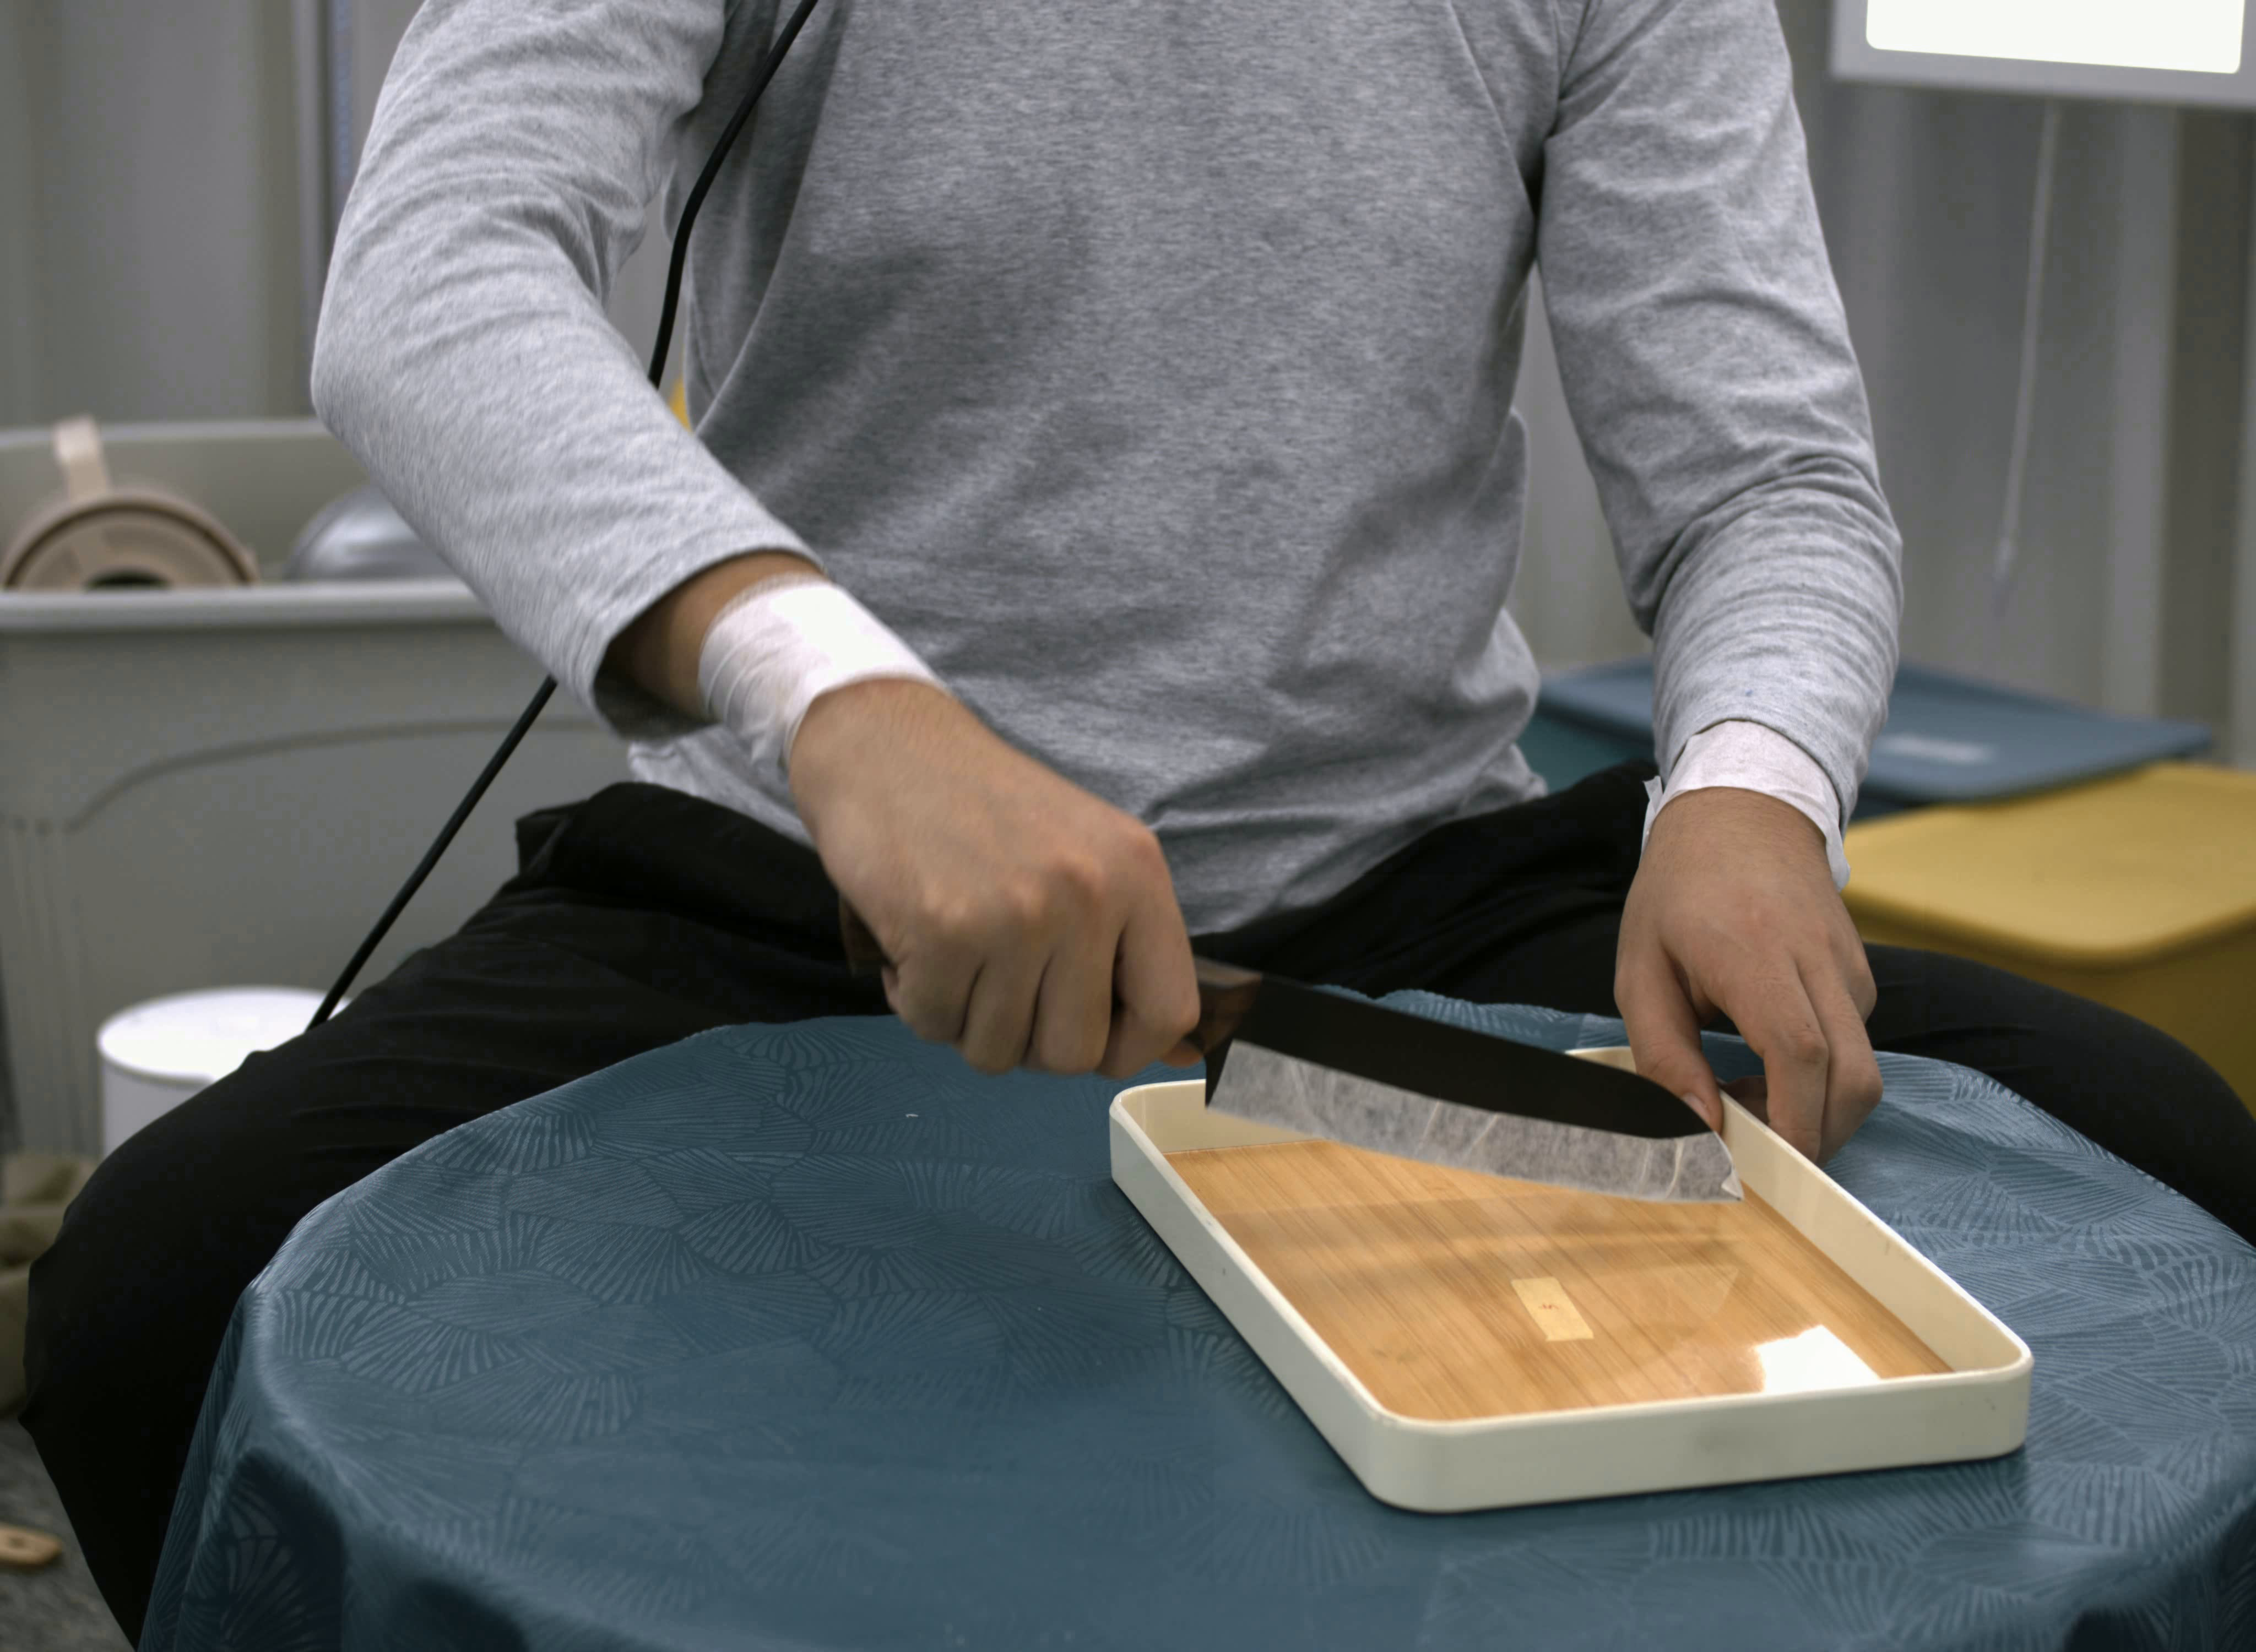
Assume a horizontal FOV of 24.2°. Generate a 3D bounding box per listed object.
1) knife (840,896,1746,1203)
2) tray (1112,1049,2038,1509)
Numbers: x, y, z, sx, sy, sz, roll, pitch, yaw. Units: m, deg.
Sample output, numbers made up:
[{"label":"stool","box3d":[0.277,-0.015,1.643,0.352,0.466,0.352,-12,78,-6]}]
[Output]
[{"label":"knife","box3d":[0.050,0.068,1.541,0.290,0.050,0.020,17,14,-14]},{"label":"tray","box3d":[0.121,0.126,1.531,0.192,0.027,0.297,-3,16,-15]}]
